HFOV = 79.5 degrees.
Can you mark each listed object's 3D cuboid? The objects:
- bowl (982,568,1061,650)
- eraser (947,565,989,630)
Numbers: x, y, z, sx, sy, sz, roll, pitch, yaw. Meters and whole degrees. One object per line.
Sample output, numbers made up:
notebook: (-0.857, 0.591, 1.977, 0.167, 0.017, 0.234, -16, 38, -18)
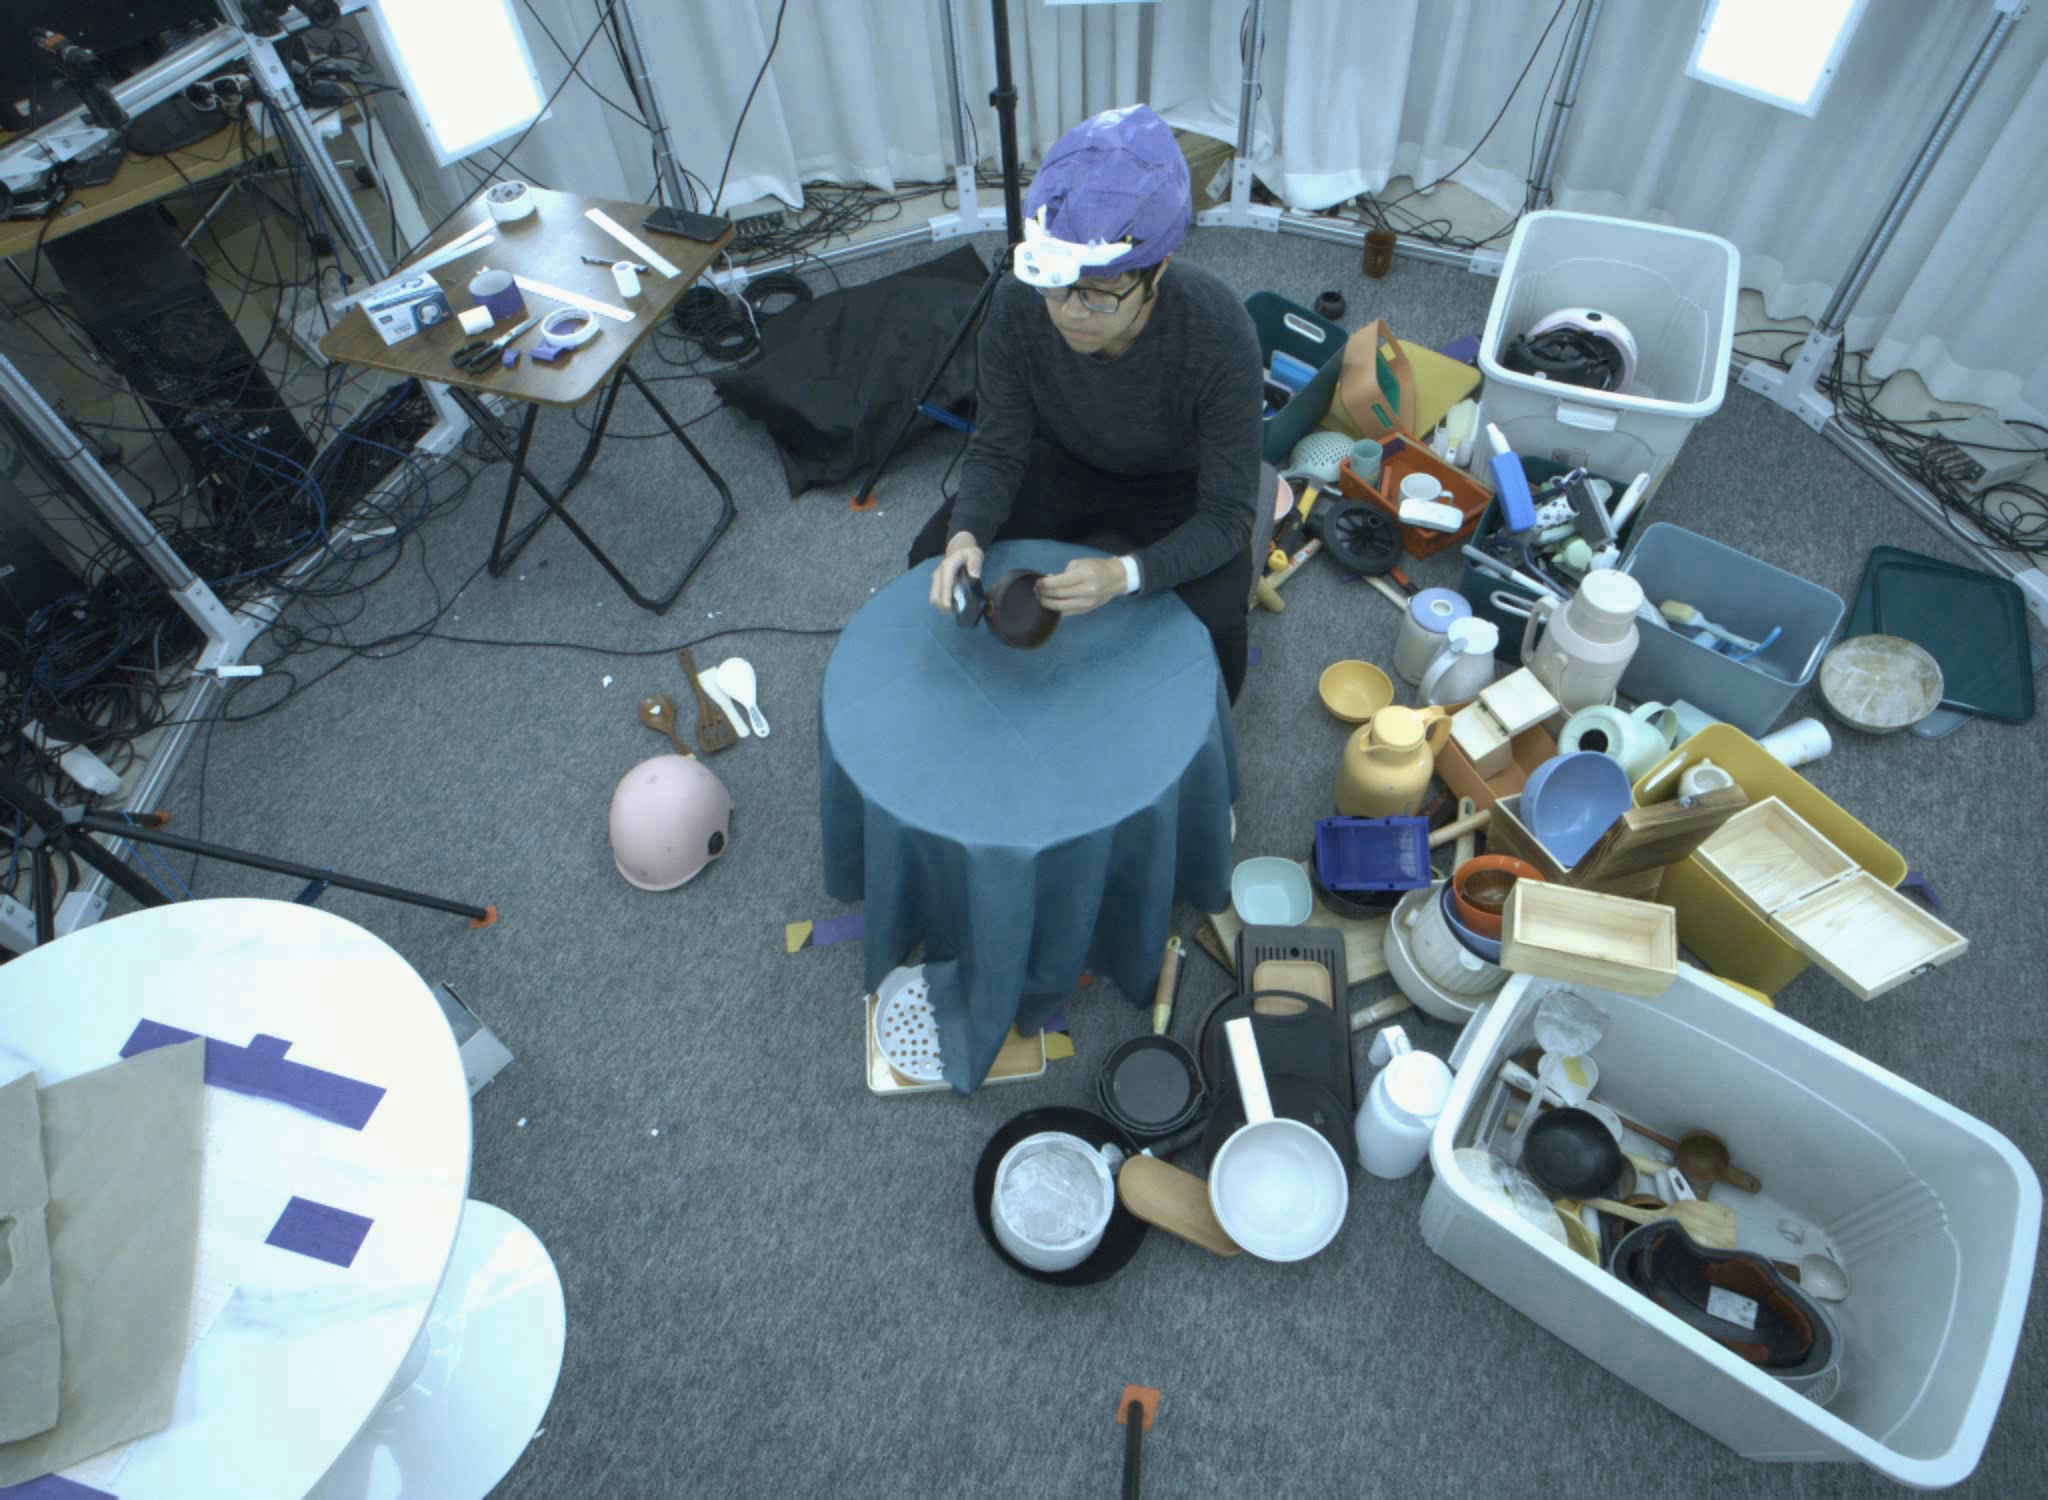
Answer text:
bowl: (-0.012, -0.209, 1.799, 0.119, 0.120, 0.068, -40, 34, -22)
eraser: (-0.083, -0.224, 1.794, 0.031, 0.053, 0.123, 24, 22, -23)
